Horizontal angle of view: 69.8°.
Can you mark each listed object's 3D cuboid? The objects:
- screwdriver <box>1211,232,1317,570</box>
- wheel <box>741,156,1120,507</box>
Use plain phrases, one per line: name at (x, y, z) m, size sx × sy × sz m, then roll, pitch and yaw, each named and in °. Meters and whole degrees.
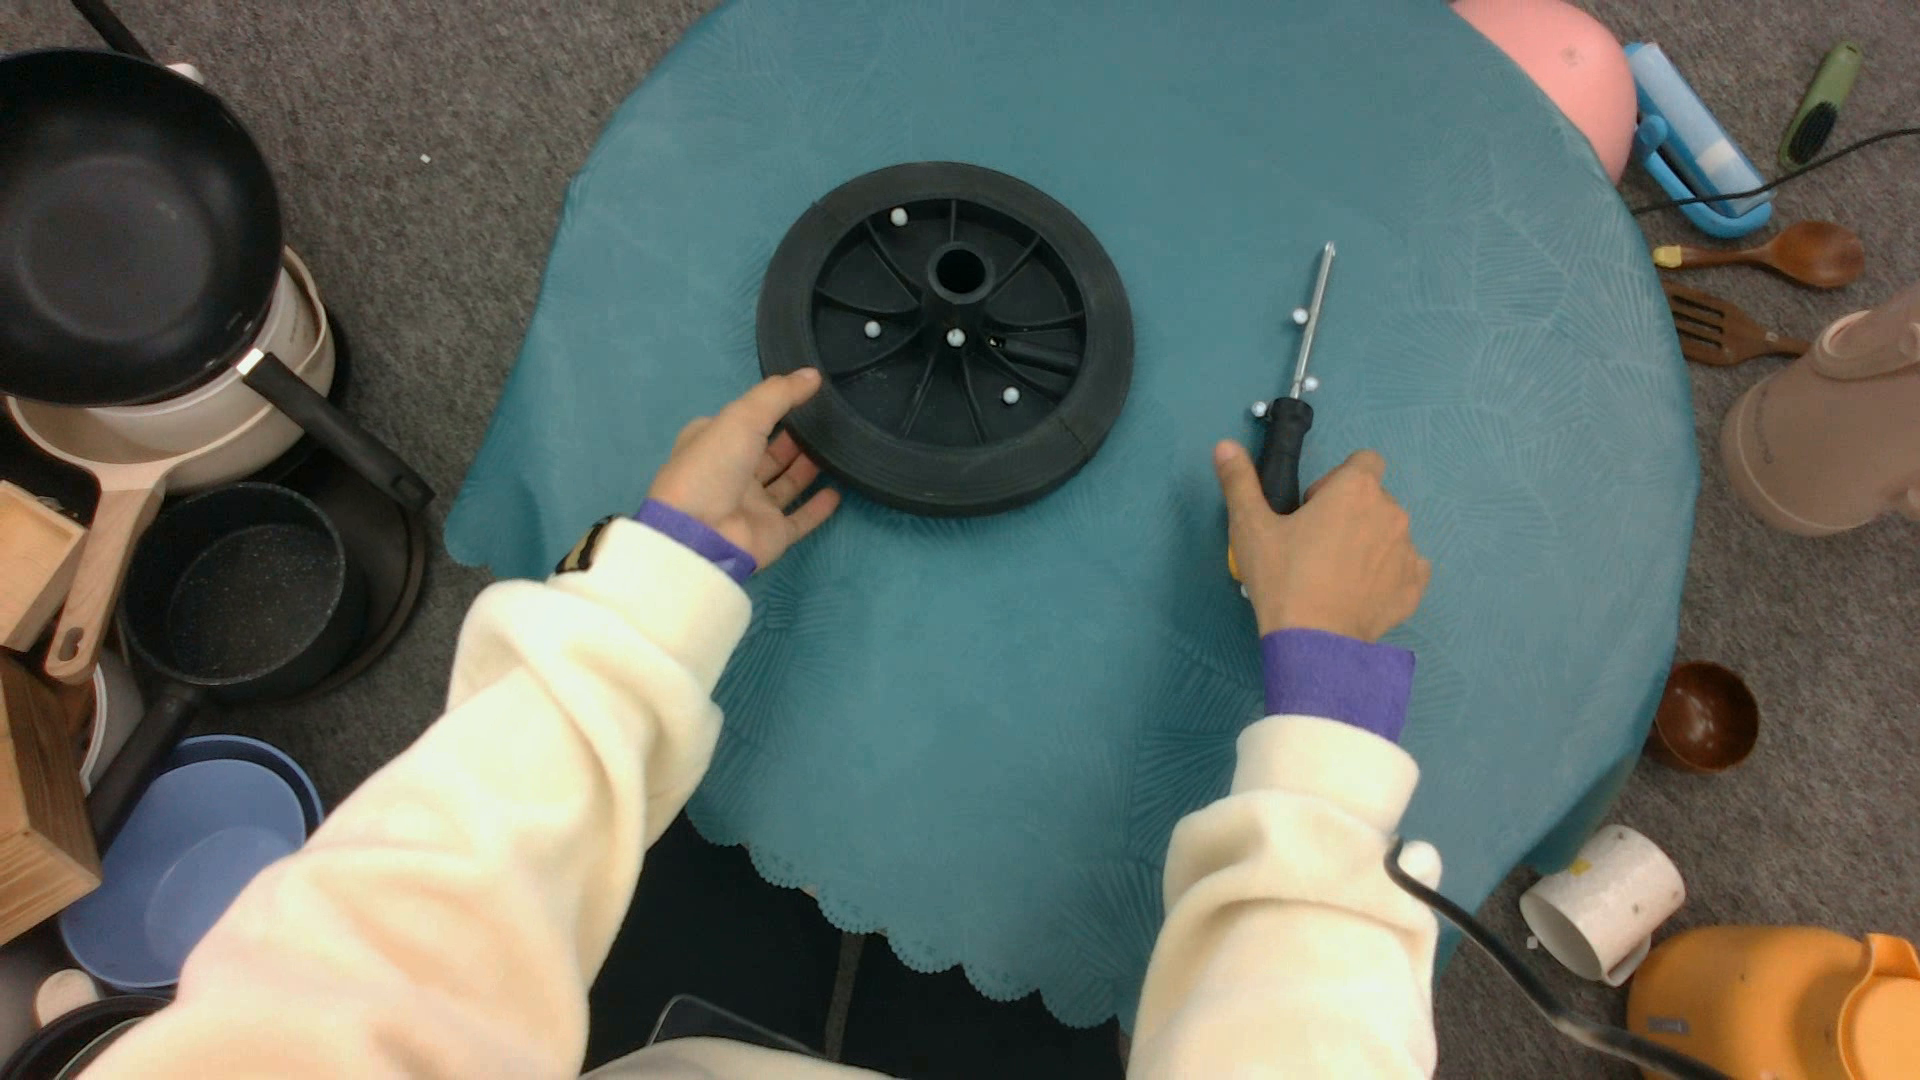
screwdriver at (0.157, -0.077, 0.697) m, size 0.031 × 0.031 × 0.197 m, roll 15°, pitch 71°, yaw 0°
wheel at (-0.009, -0.114, 0.666) m, size 0.190 × 0.079 × 0.188 m, roll -8°, pitch 72°, yaw -14°
